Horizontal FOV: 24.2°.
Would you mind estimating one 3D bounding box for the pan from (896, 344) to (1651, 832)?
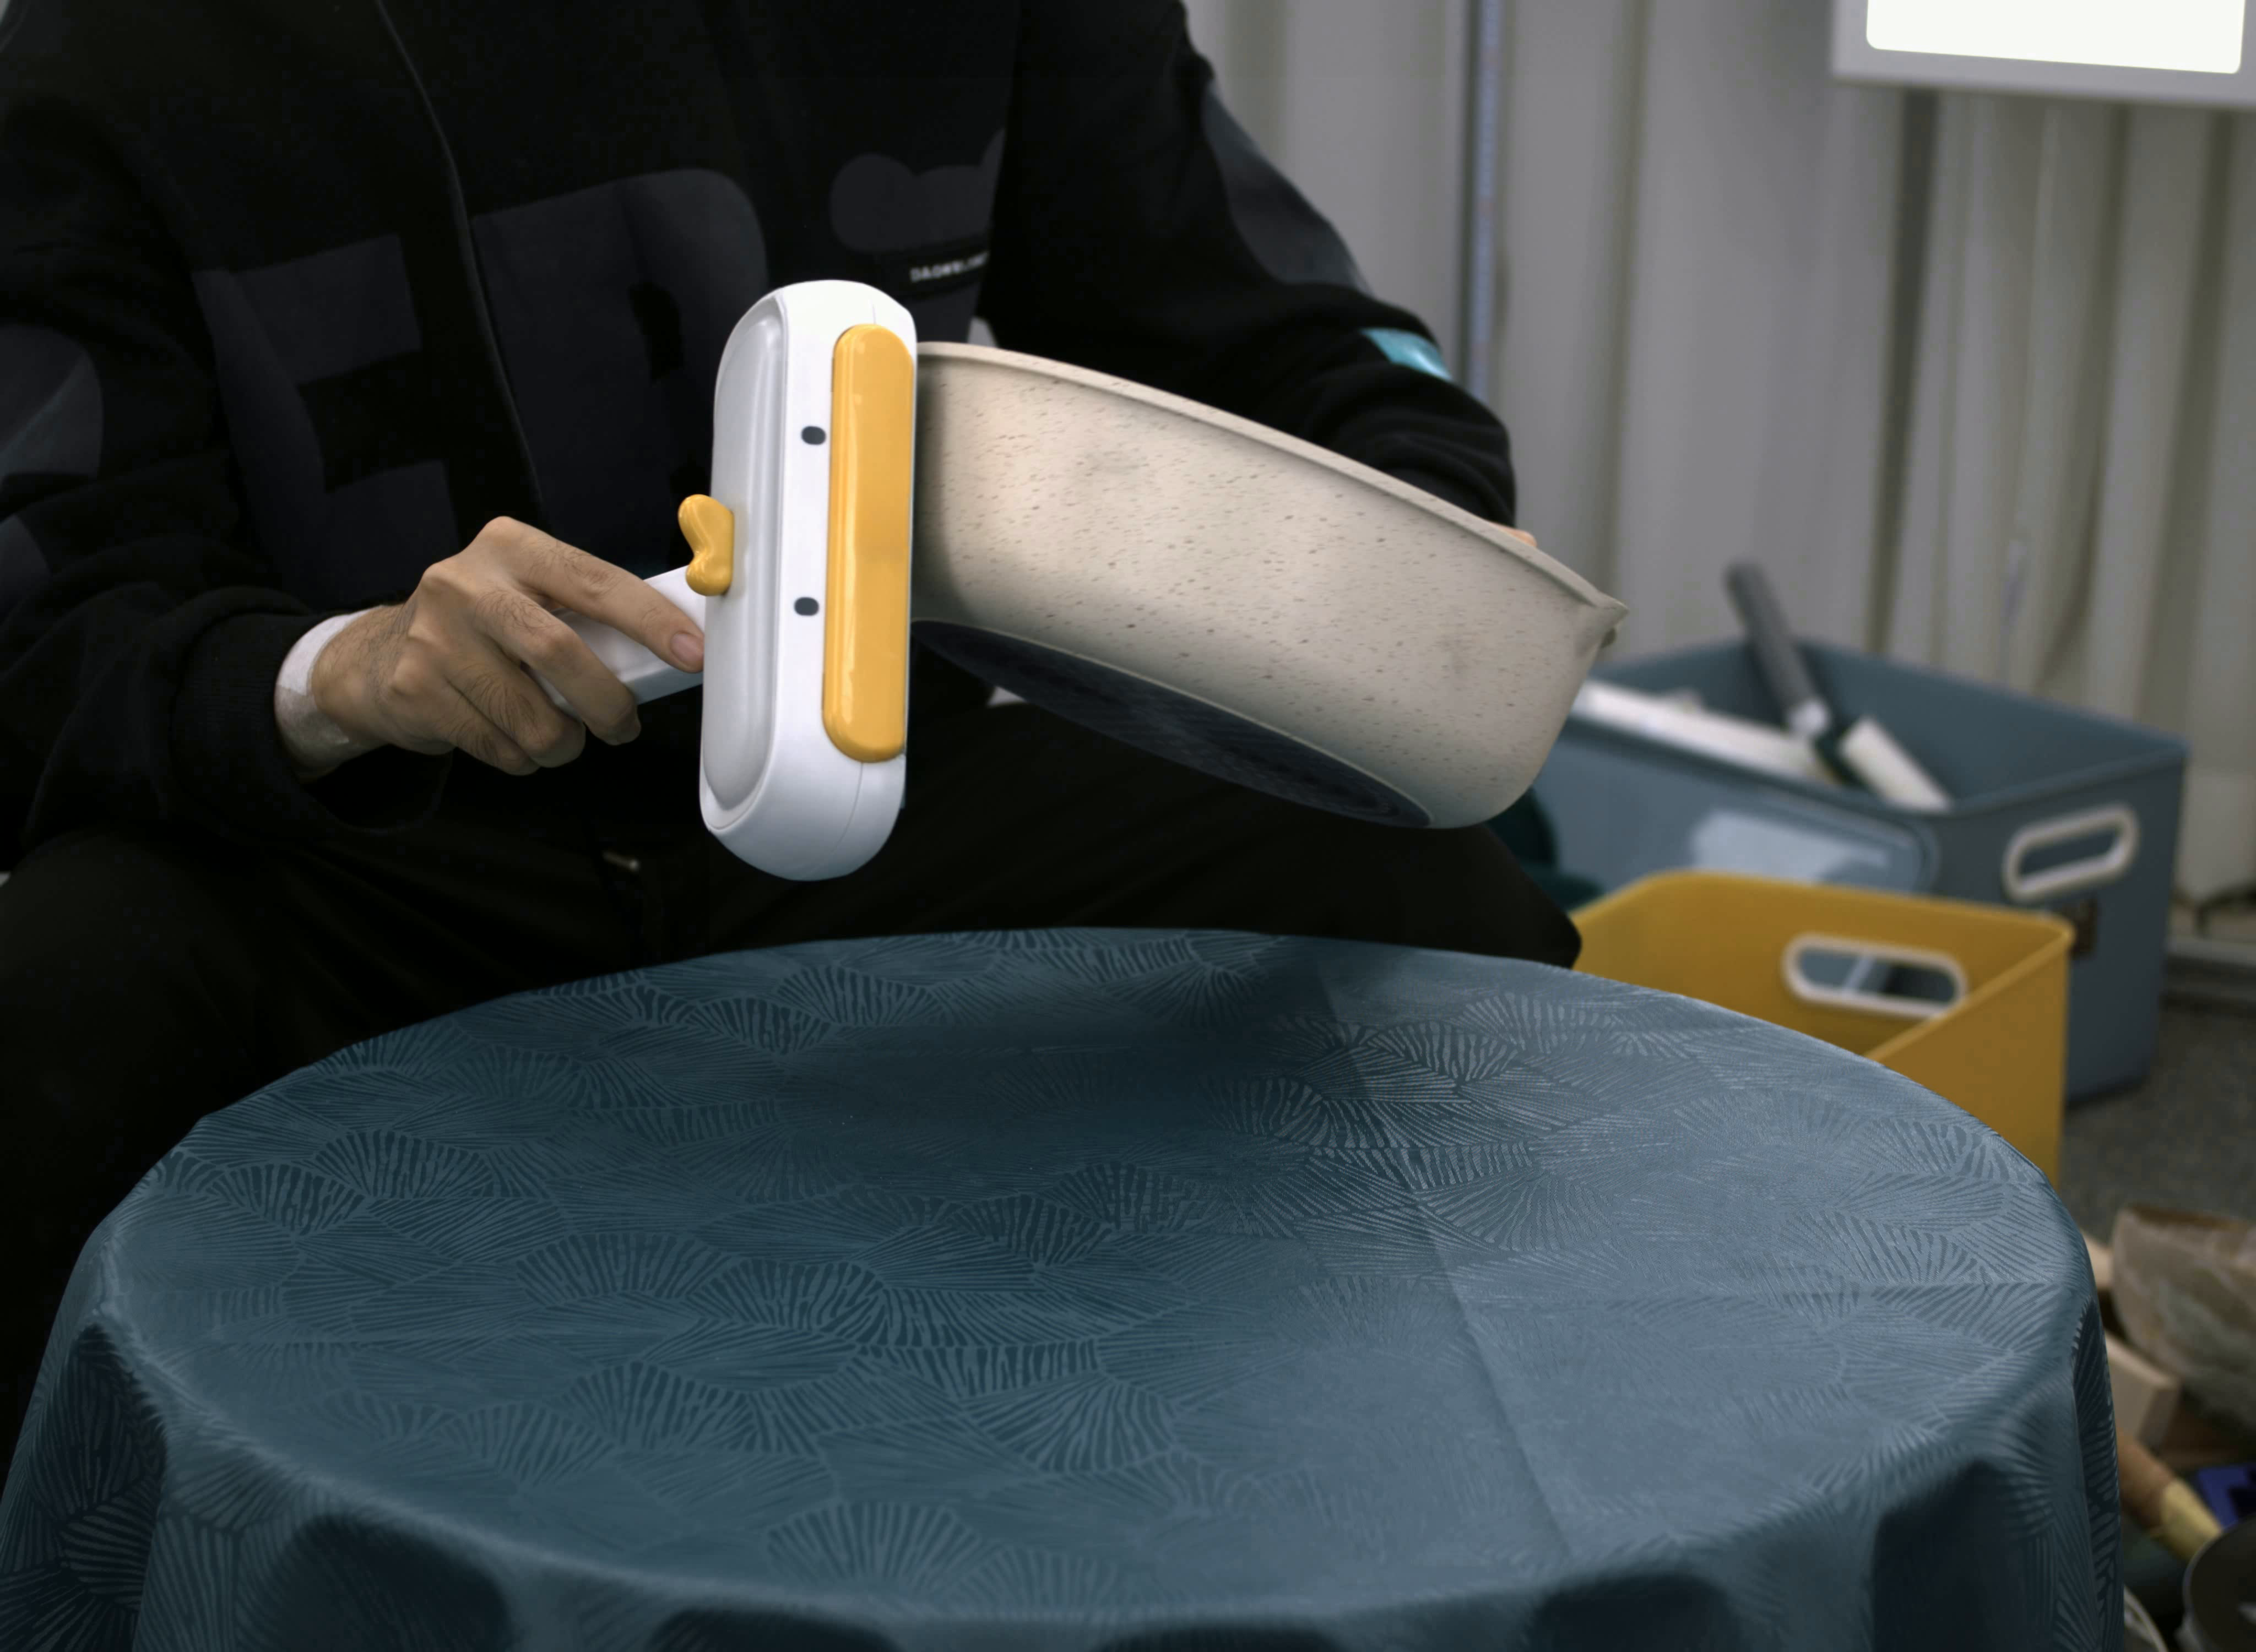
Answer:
[{"bbox_3d":[0.062,-0.056,1.787,0.261,0.102,0.438,16,-7,19],"label":"pan"}]

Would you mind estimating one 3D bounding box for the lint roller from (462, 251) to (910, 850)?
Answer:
[{"bbox_3d":[-0.139,-0.066,1.660,0.075,0.192,0.191,10,-27,-36],"label":"lint roller"}]
